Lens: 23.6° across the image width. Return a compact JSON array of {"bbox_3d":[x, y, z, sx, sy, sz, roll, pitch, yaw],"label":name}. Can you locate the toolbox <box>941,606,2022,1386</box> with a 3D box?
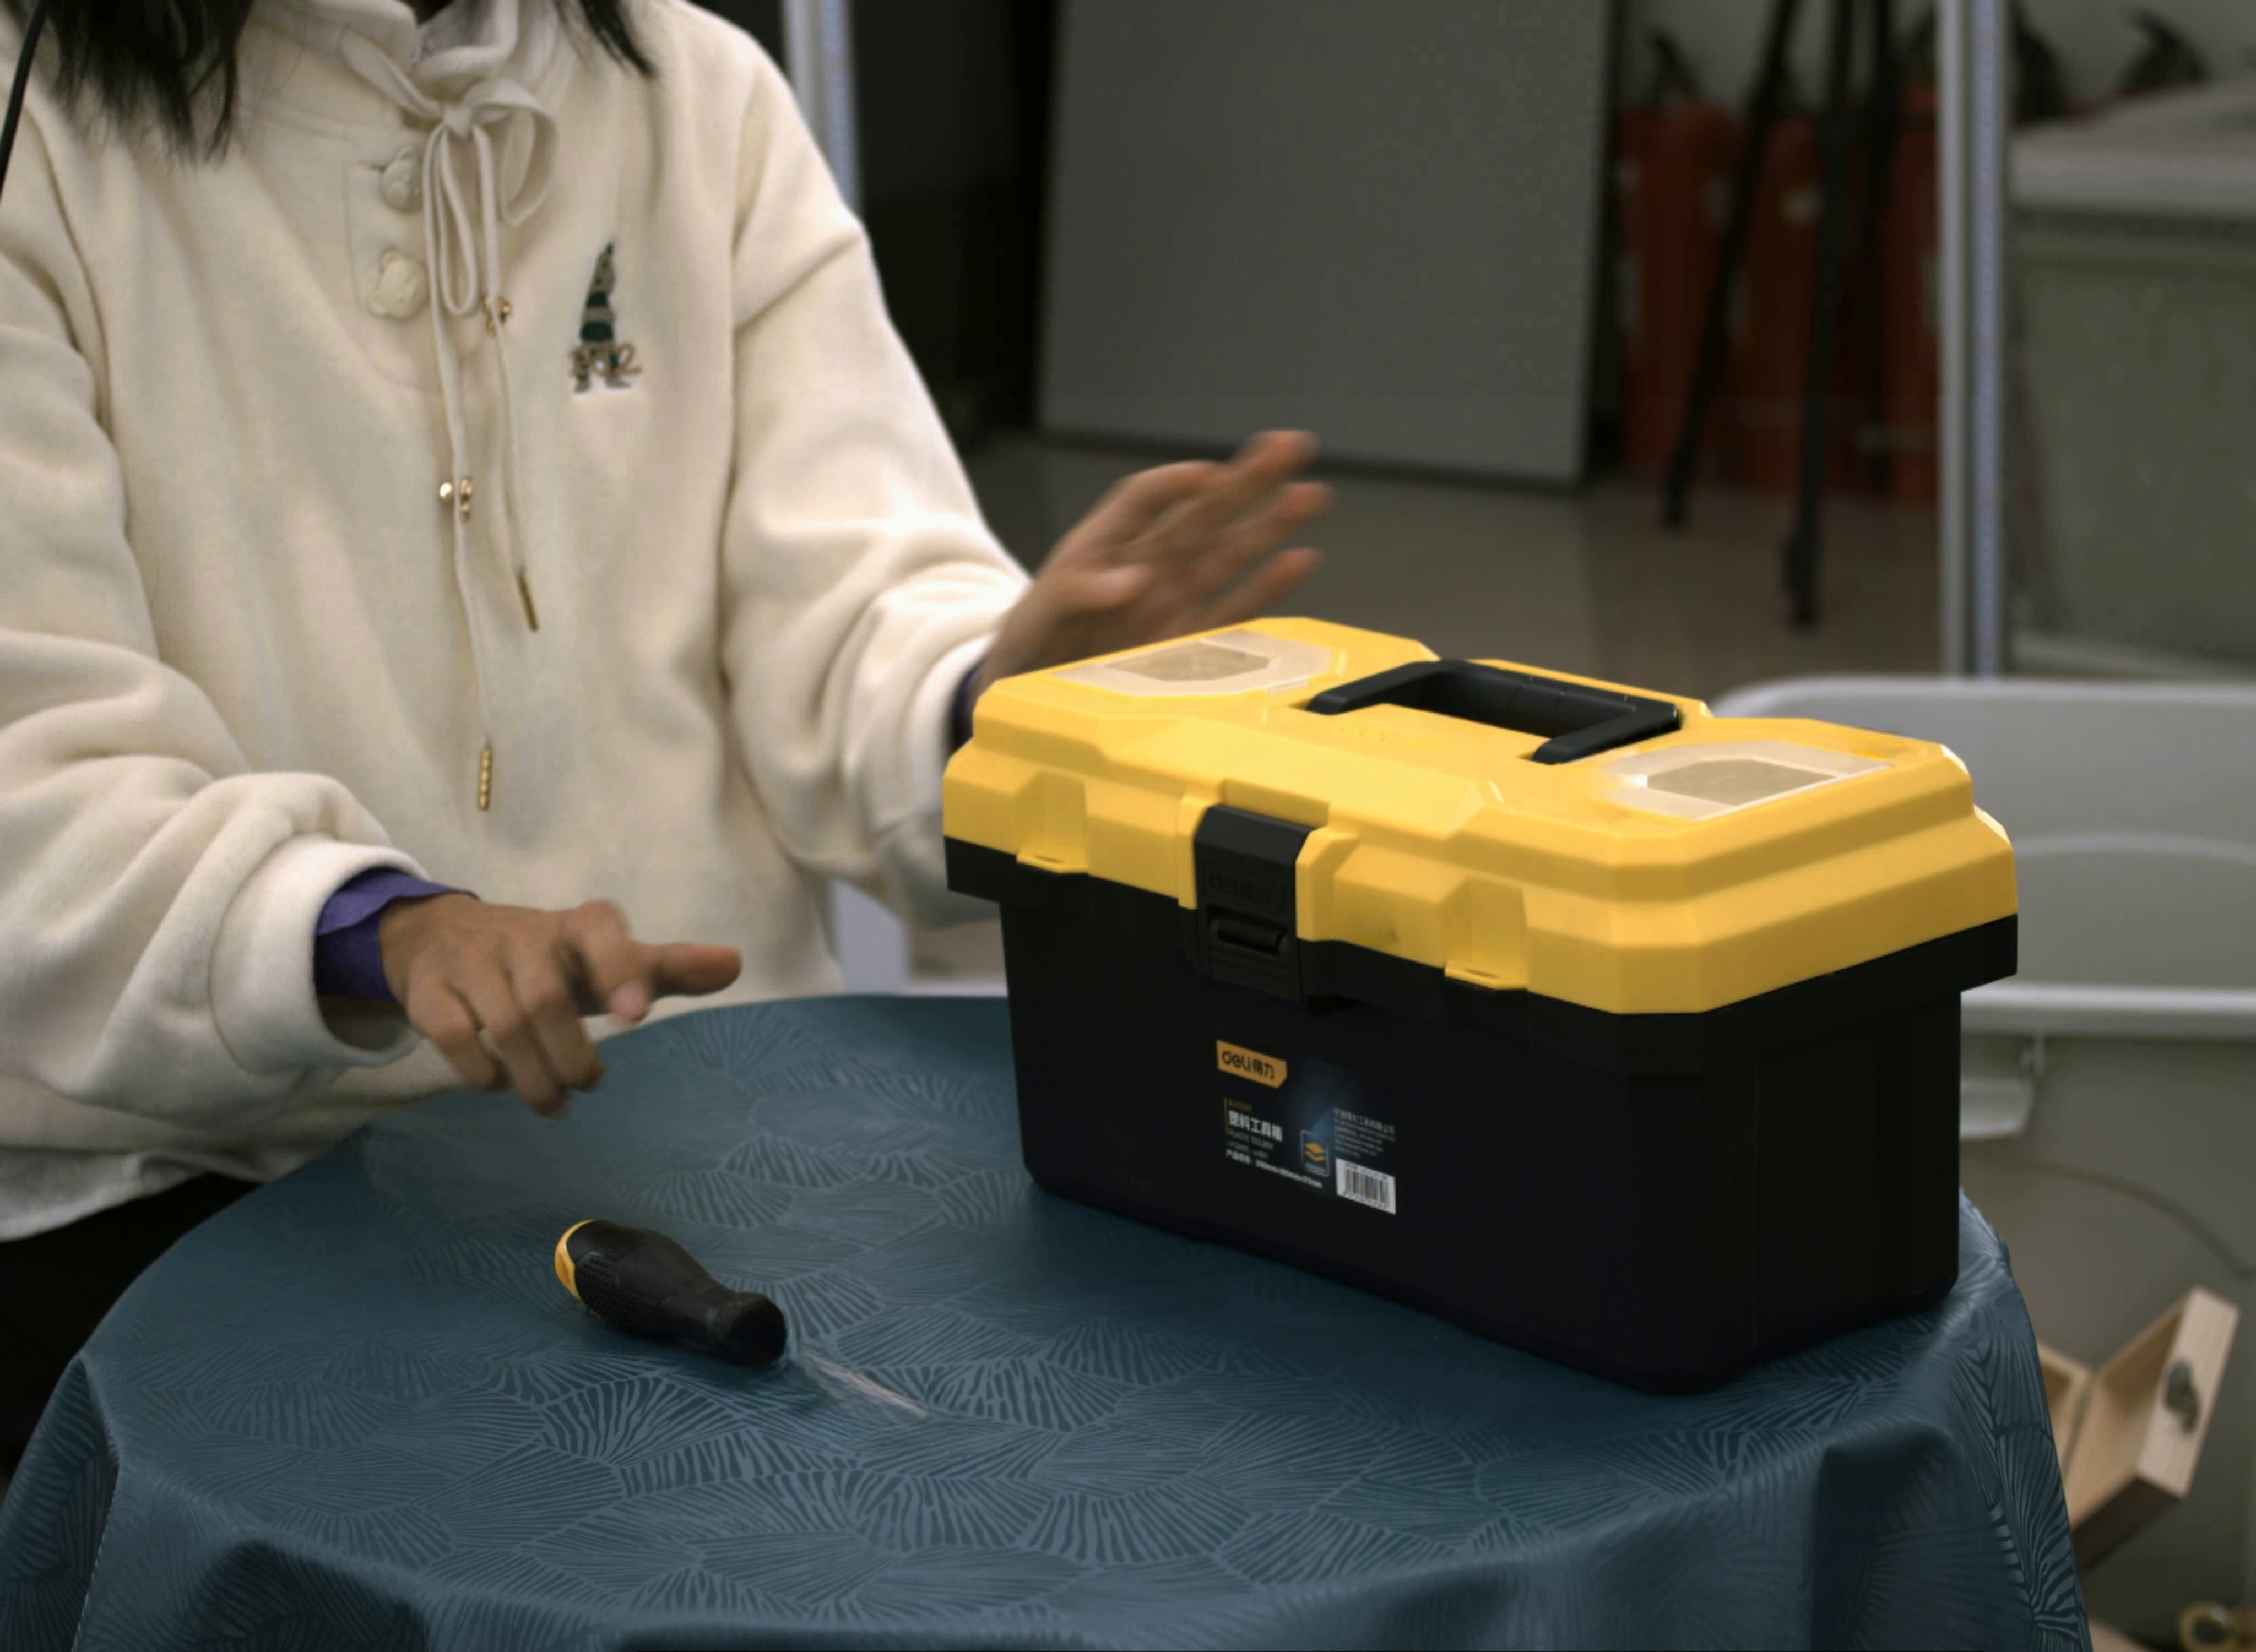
[{"bbox_3d":[0.103,0.045,1.680,0.177,0.175,0.355,-14,17,-35],"label":"toolbox"}]

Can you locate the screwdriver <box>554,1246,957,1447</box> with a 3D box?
[{"bbox_3d":[-0.111,0.161,1.620,0.031,0.032,0.200,-13,21,-36],"label":"screwdriver"}]
